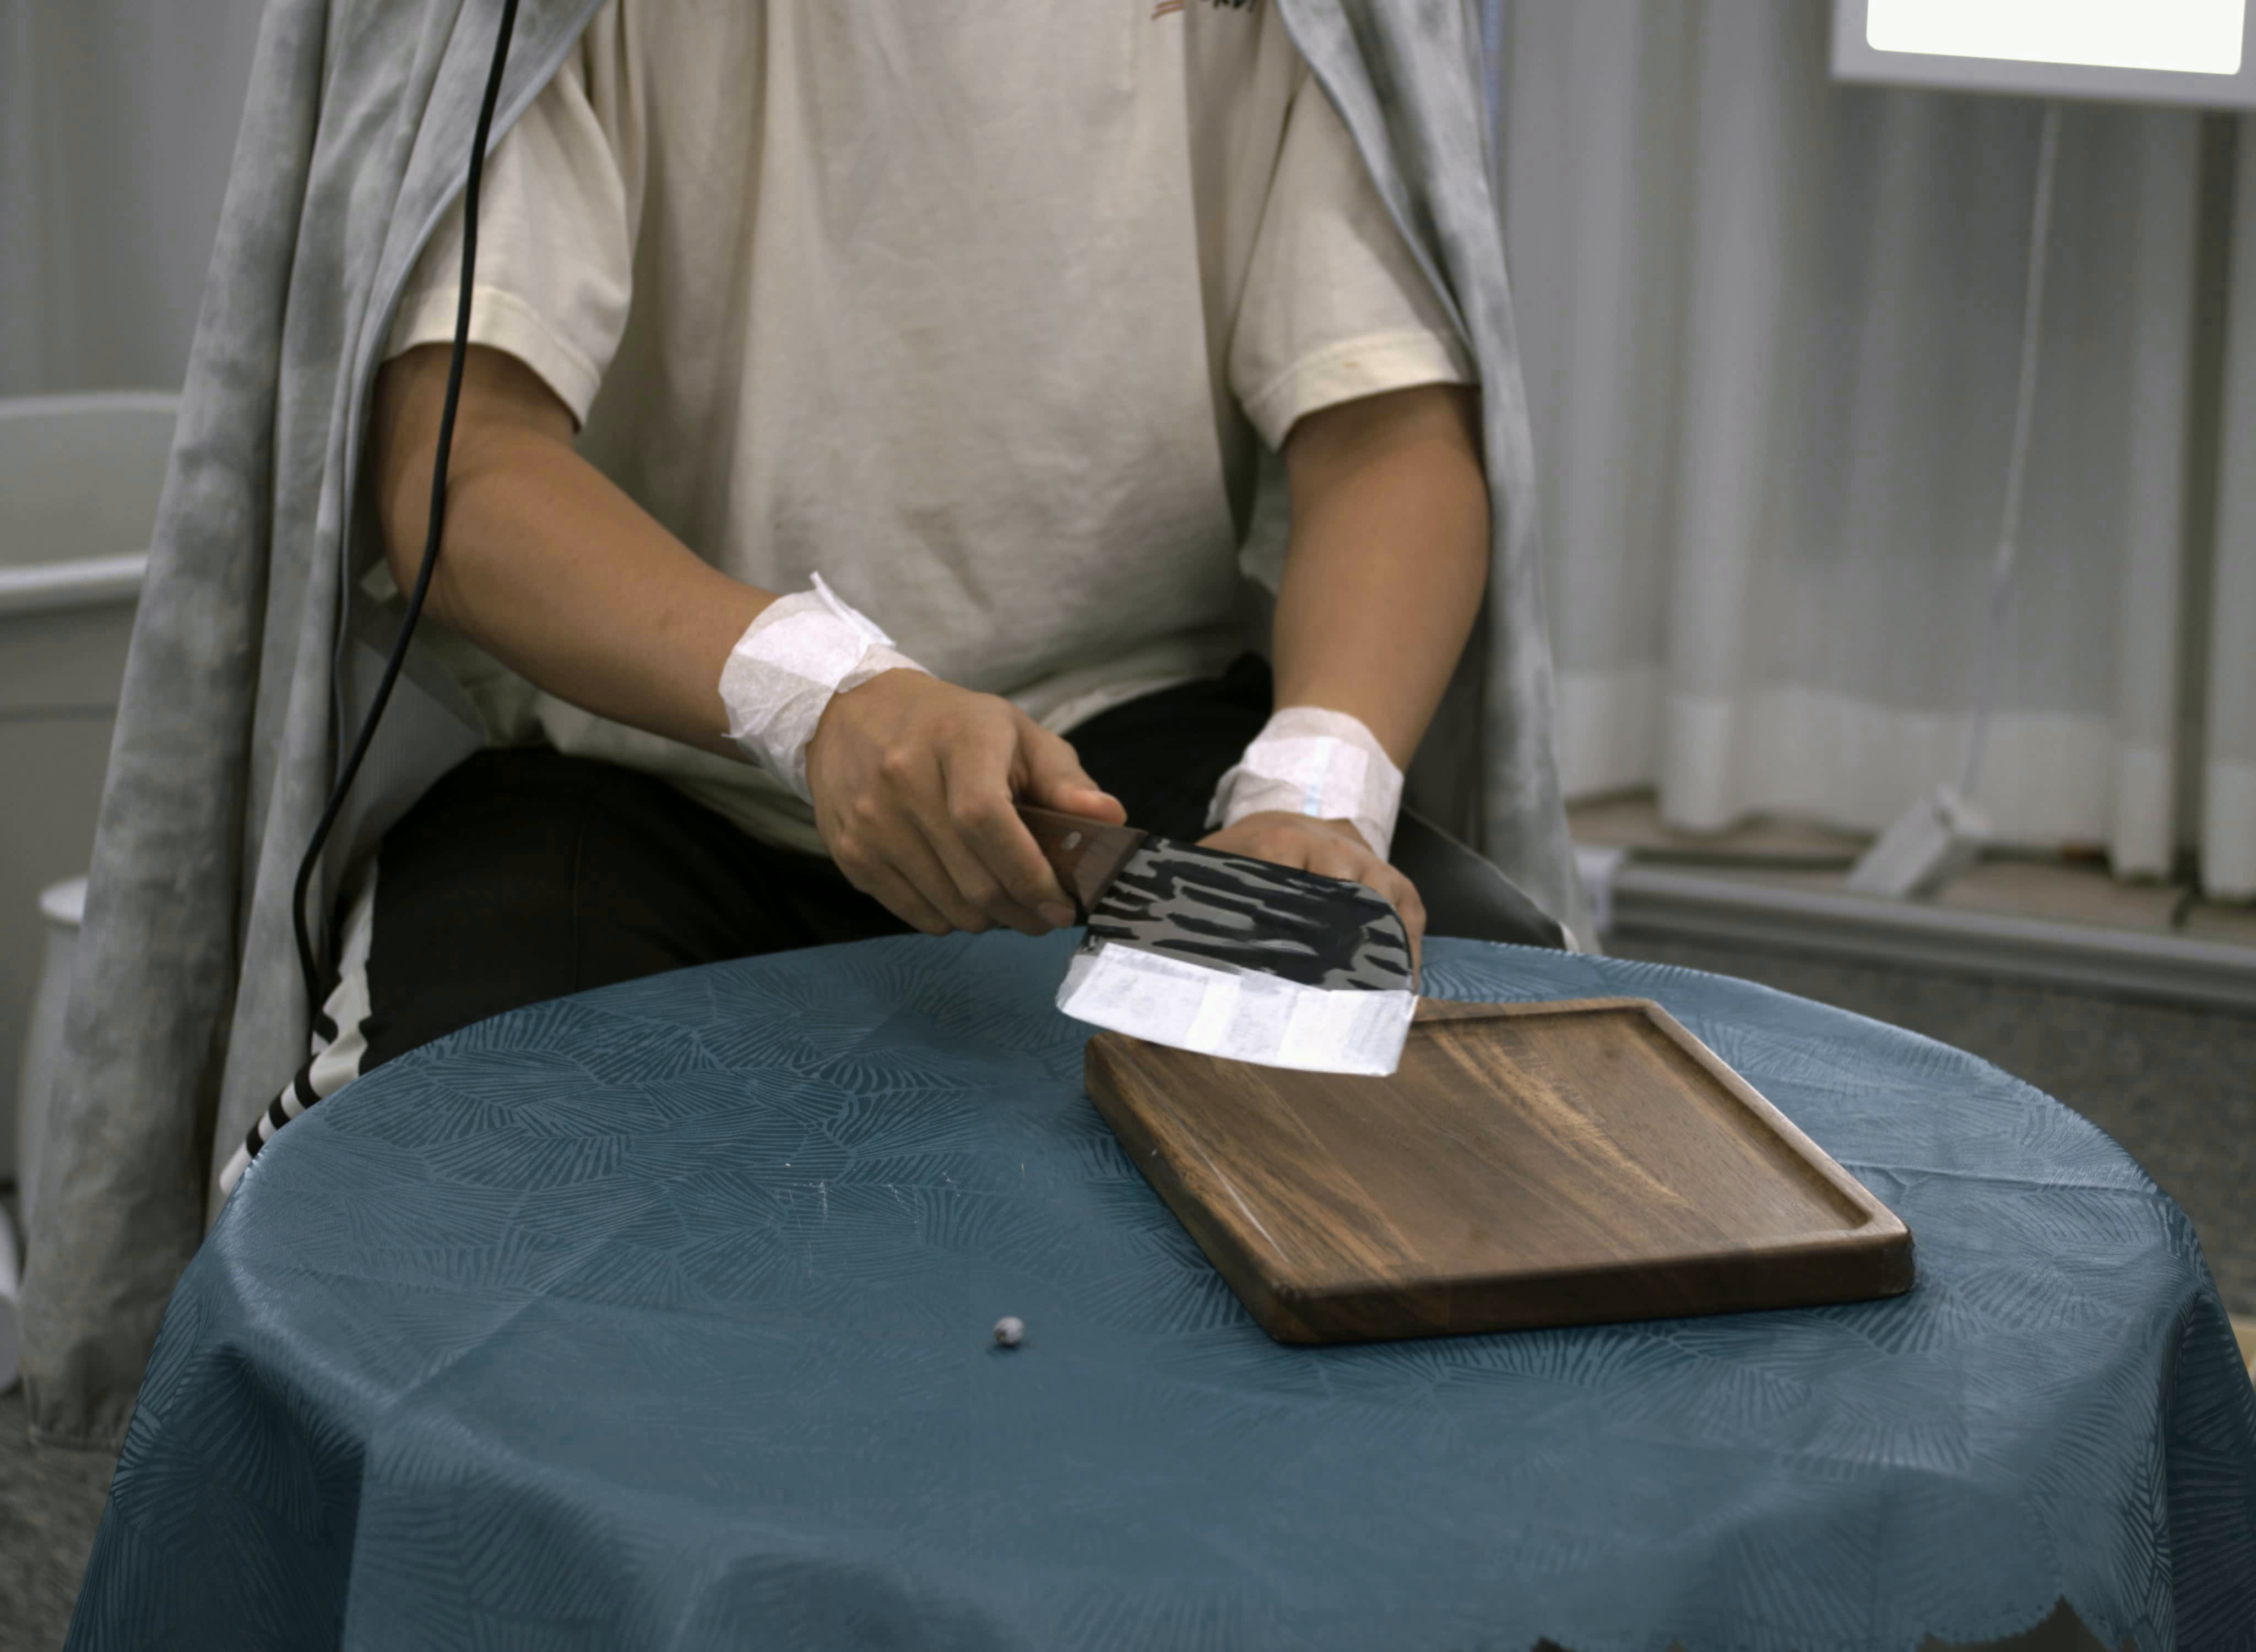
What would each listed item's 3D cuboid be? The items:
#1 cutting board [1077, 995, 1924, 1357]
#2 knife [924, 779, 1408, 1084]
[{"bbox_3d":[0.096,0.091,1.675,0.201,0.023,0.349,-5,16,-14],"label":"cutting board"},{"bbox_3d":[0.006,0.032,1.685,0.024,0.068,0.296,38,-12,-33],"label":"knife"}]
